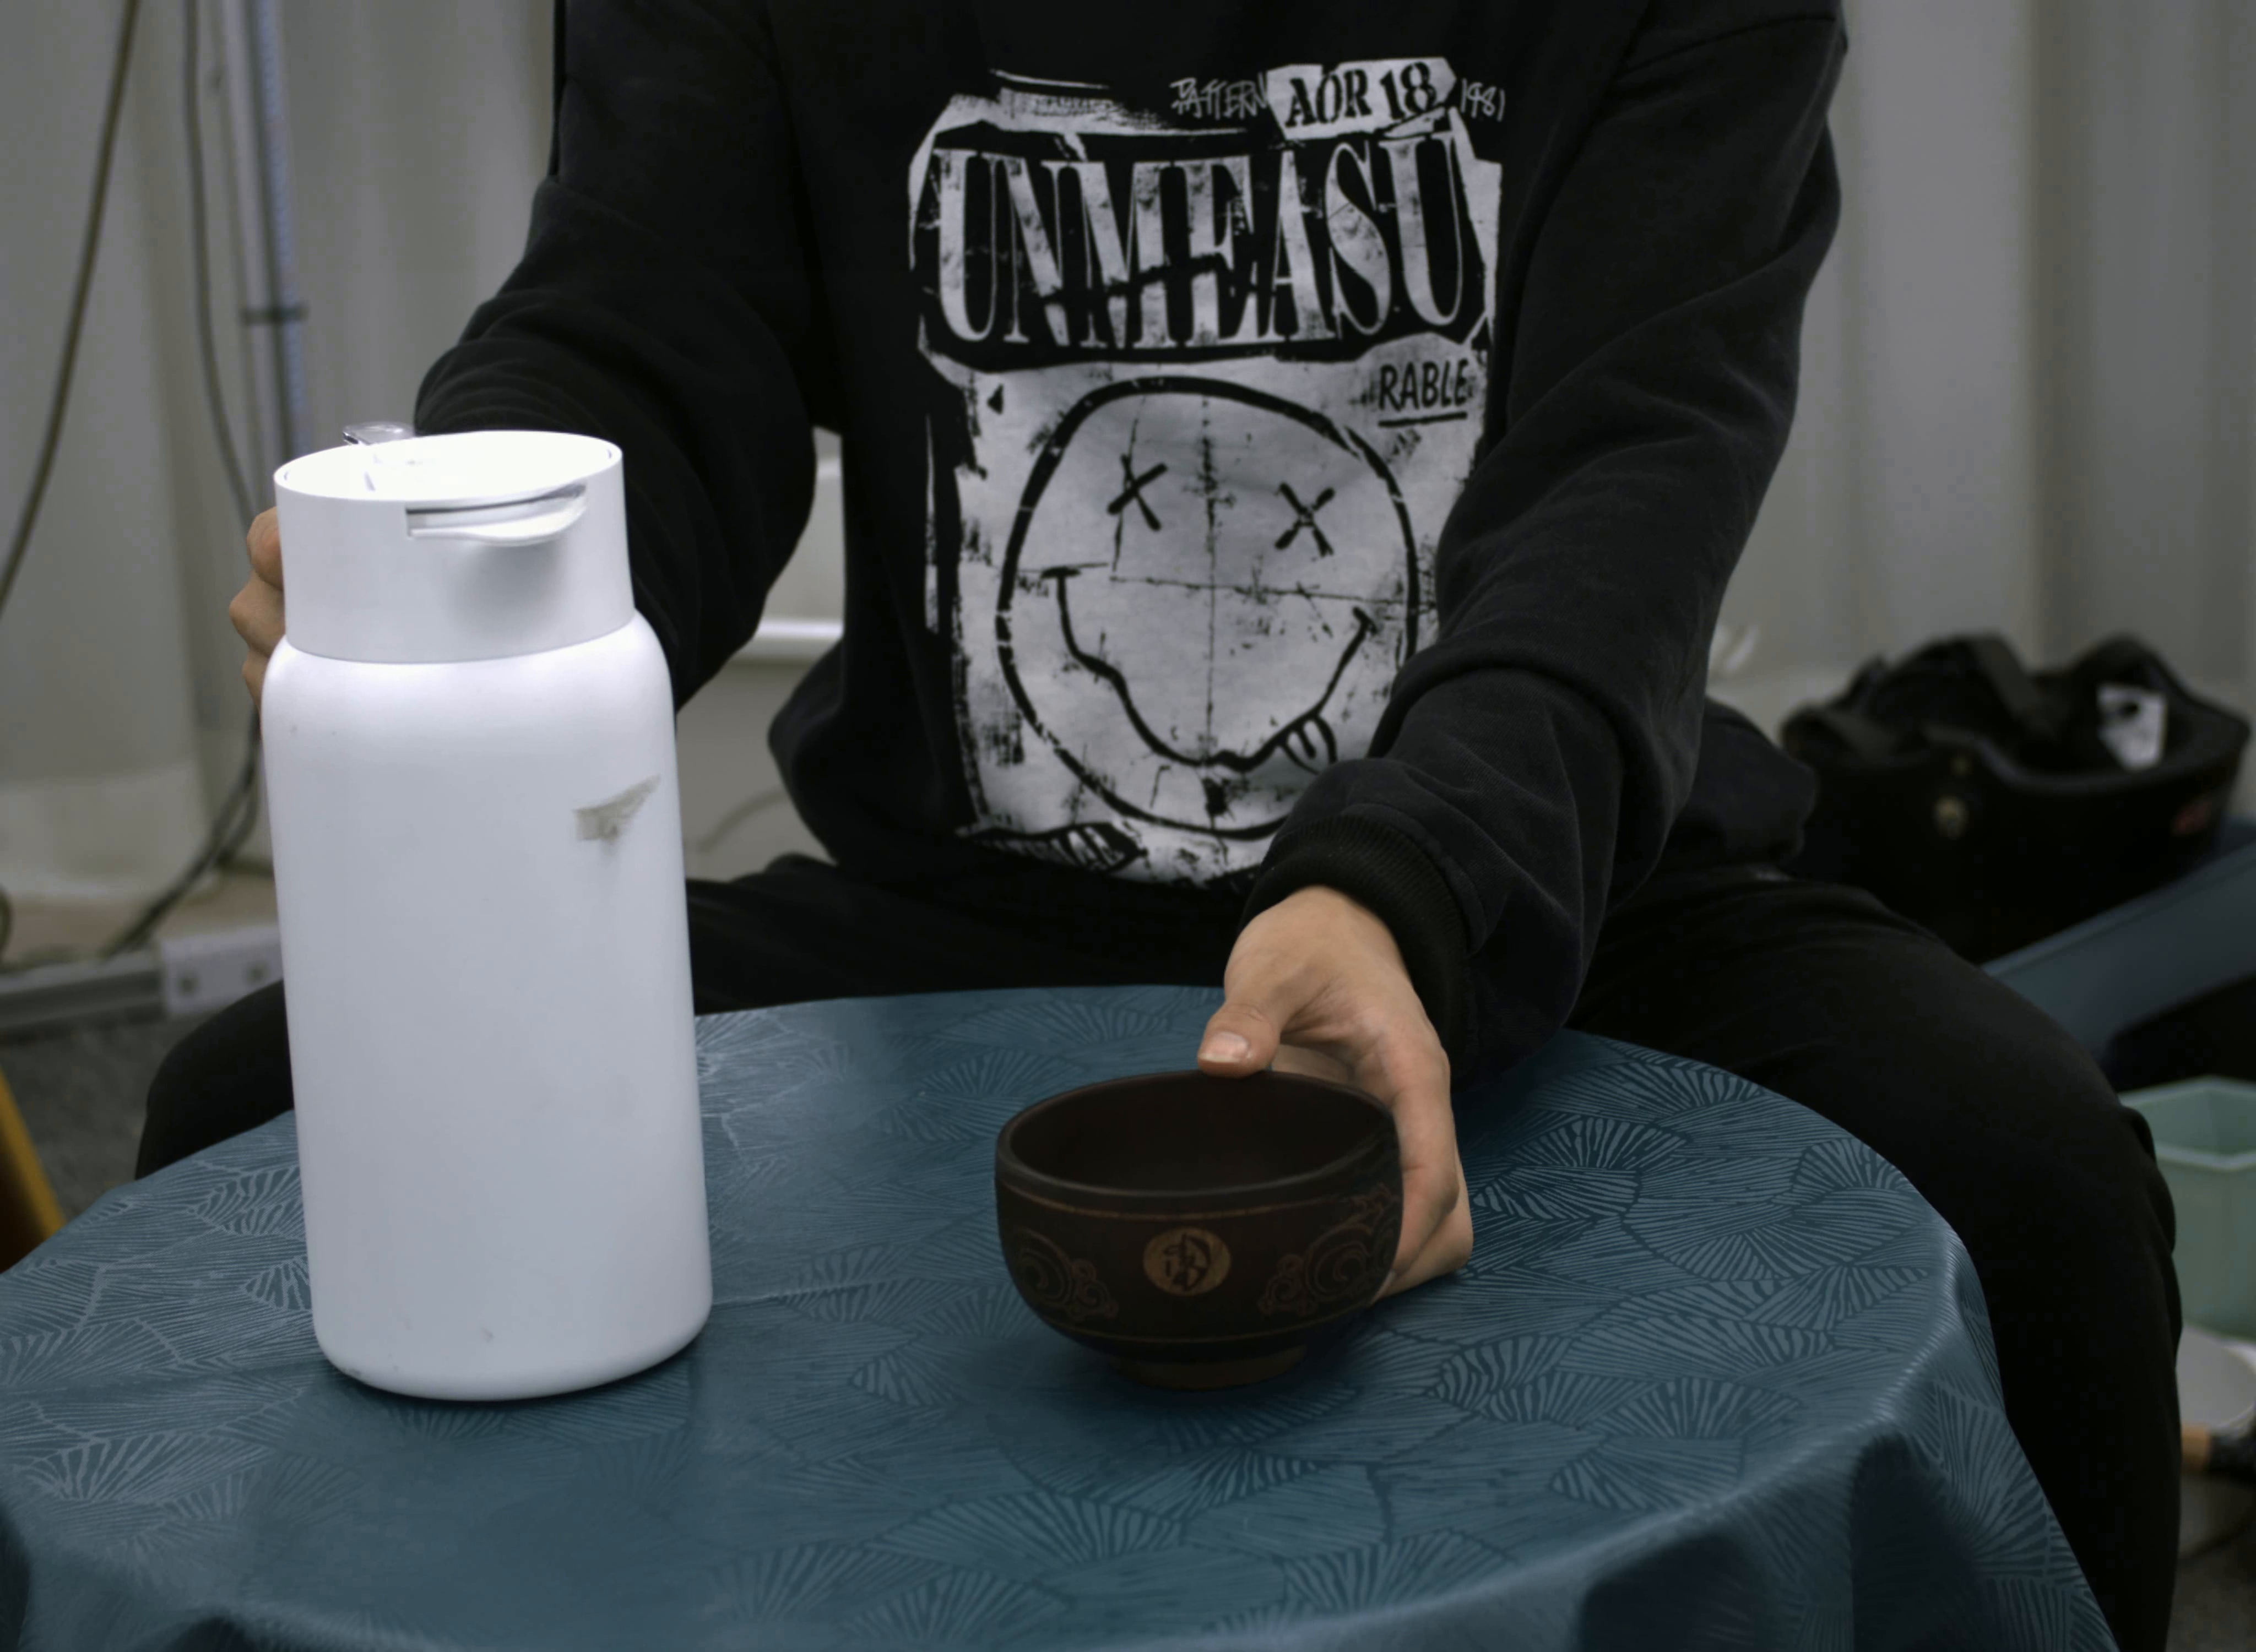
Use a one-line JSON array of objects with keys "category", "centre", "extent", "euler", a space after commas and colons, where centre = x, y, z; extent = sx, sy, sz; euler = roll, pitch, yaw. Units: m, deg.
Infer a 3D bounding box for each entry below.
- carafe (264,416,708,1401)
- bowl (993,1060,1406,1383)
[{"category": "carafe", "centre": [-0.195, 0.020, 1.593], "extent": [0.123, 0.268, 0.174], "euler": [-11, 16, -25]}, {"category": "bowl", "centre": [0.021, 0.117, 1.559], "extent": [0.117, 0.069, 0.119], "euler": [-3, 14, 1]}]
